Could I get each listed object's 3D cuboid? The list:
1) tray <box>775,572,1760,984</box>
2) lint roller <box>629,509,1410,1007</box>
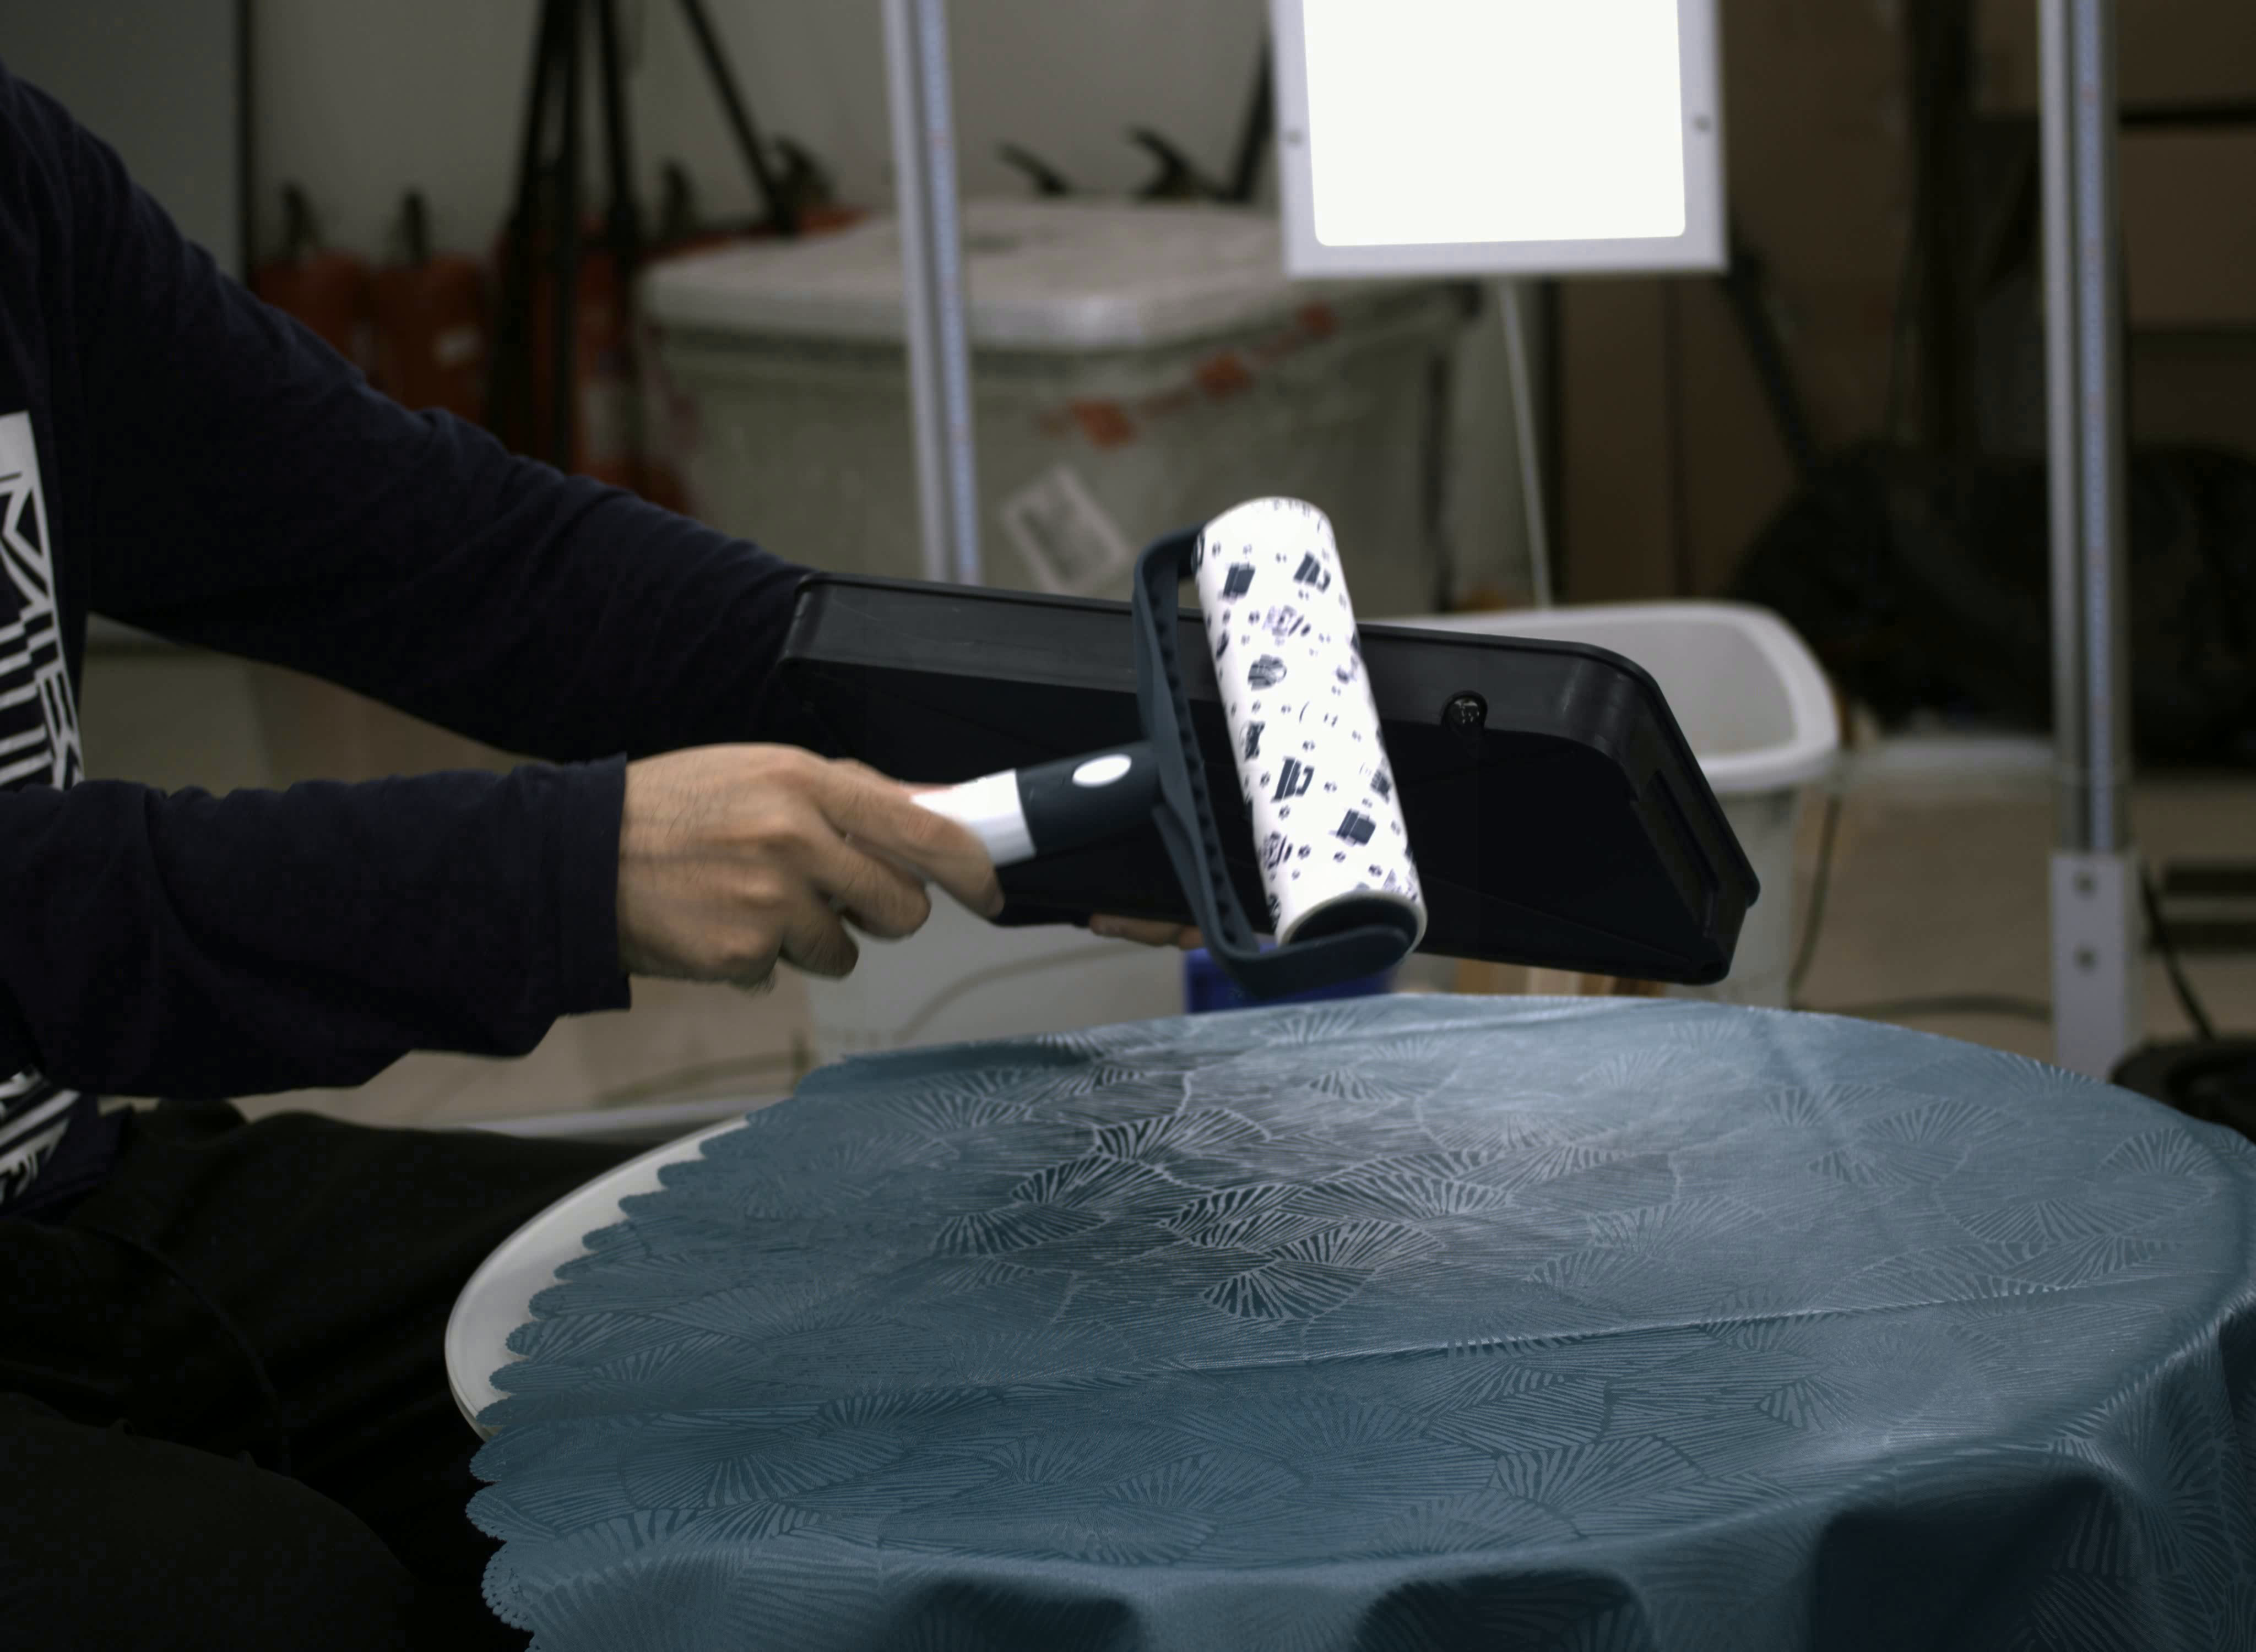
[{"bbox_3d":[0.047,-0.016,1.890,0.323,0.037,0.182,6,-27,27],"label":"tray"},{"bbox_3d":[-0.043,0.001,1.750,0.248,0.050,0.176,-16,53,6],"label":"lint roller"}]
